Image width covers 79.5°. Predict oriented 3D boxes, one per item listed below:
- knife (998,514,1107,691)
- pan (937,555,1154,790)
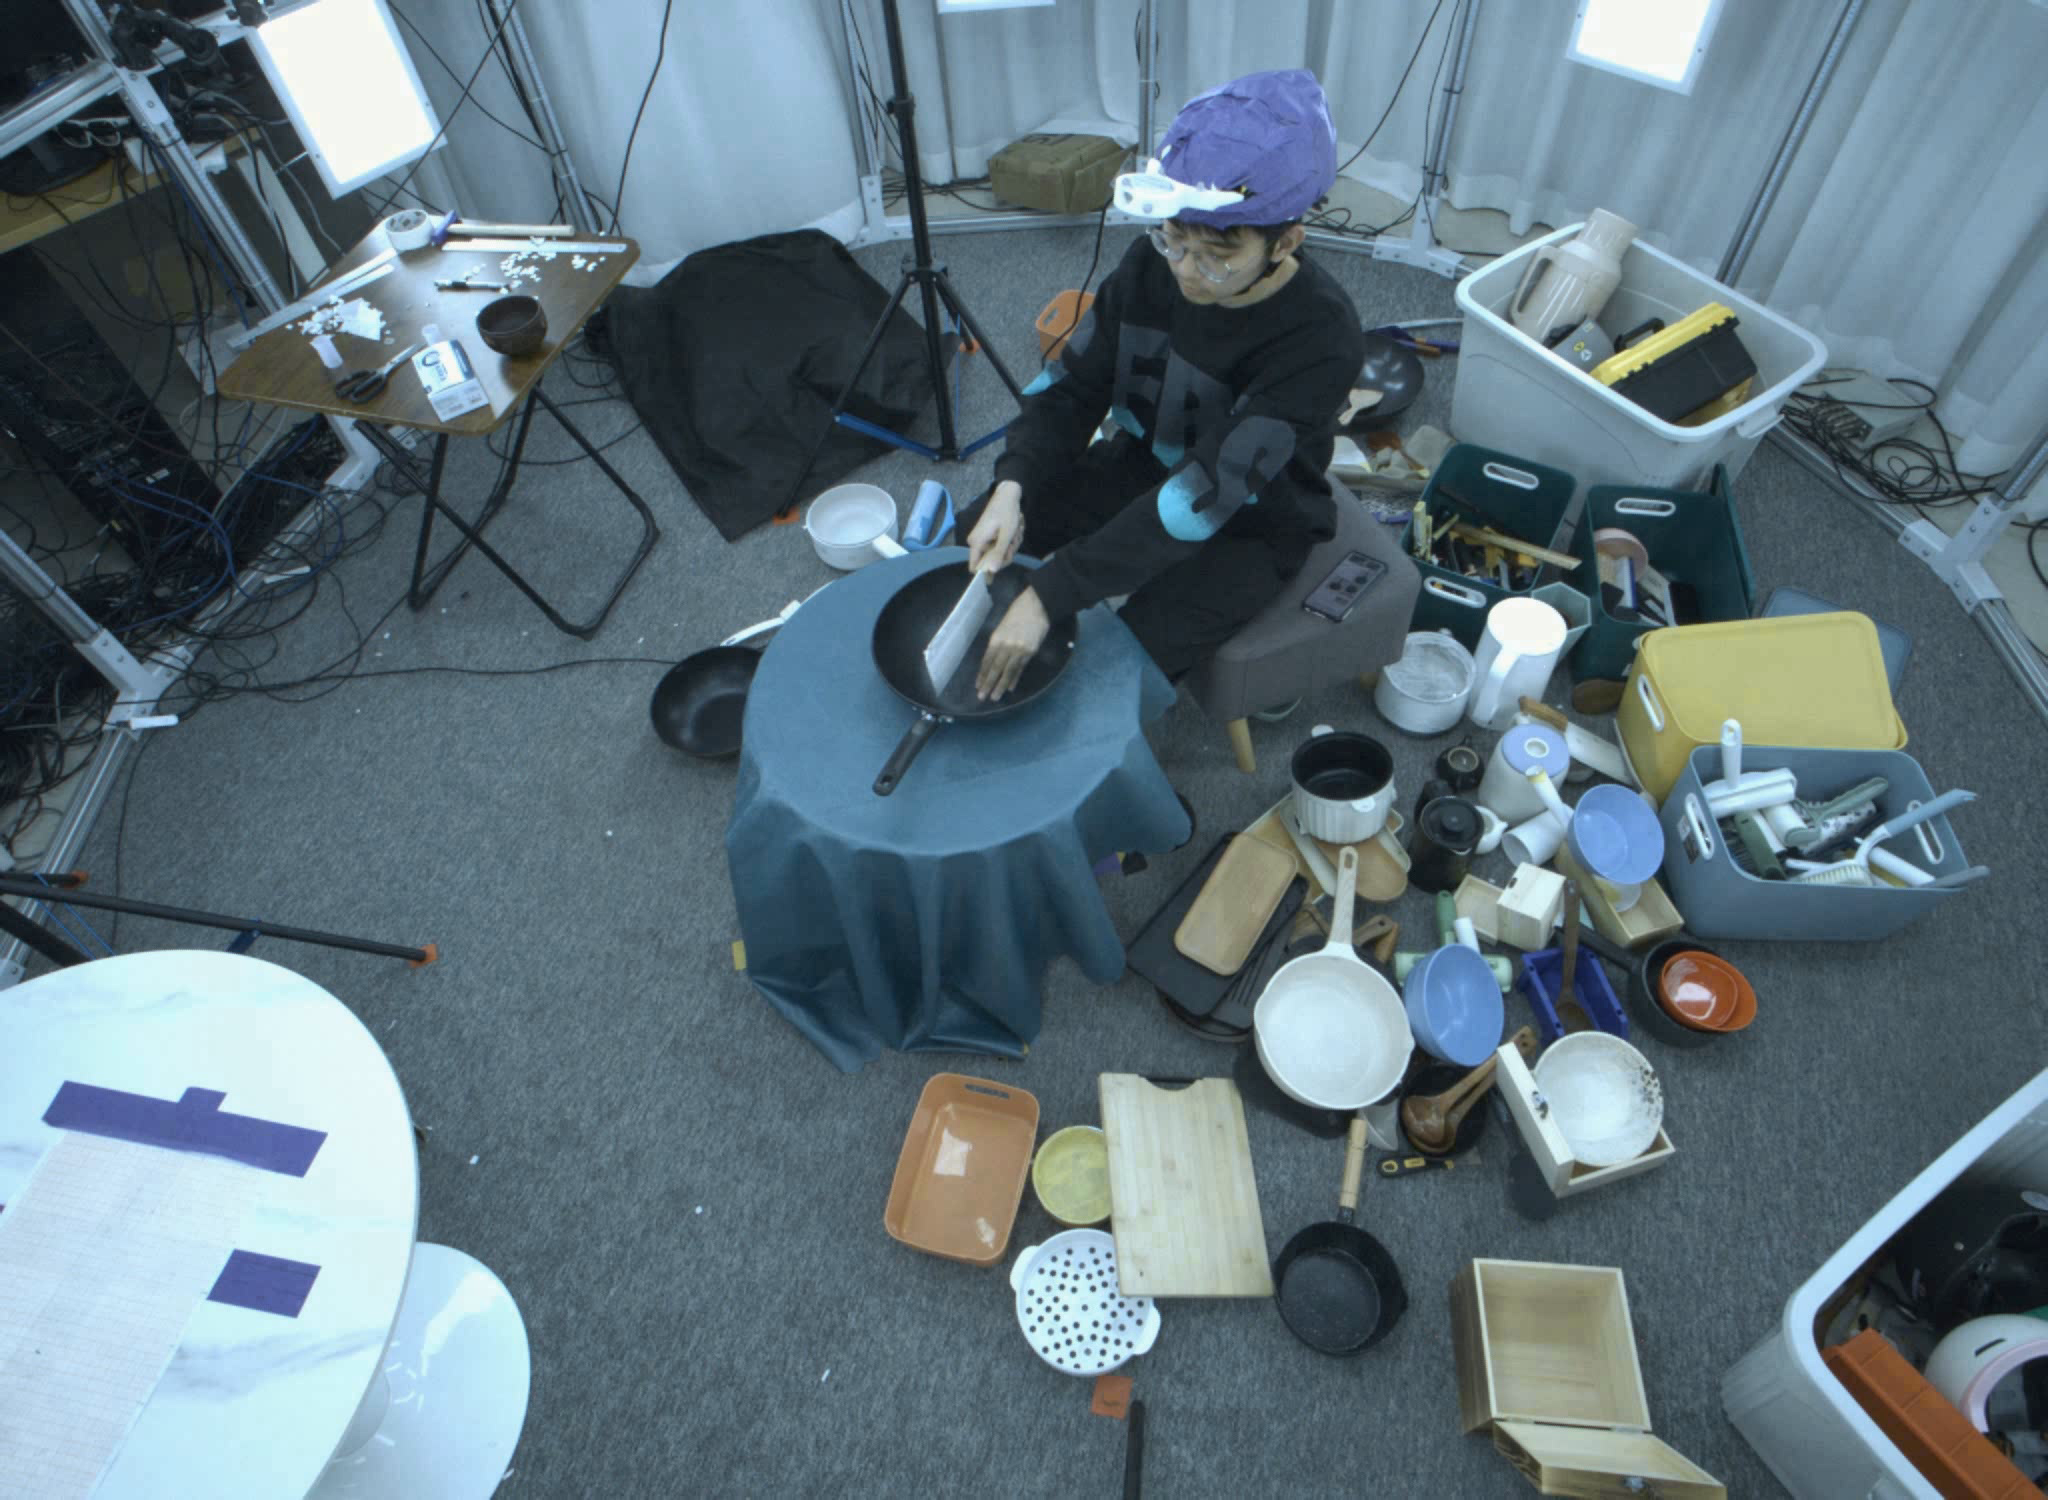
[{"bbox_3d":[0.041,-0.229,1.820,0.021,0.115,0.316,22,67,23],"label":"knife"},{"bbox_3d":[0.003,-0.098,1.791,0.306,0.113,0.477,19,58,17],"label":"pan"}]
